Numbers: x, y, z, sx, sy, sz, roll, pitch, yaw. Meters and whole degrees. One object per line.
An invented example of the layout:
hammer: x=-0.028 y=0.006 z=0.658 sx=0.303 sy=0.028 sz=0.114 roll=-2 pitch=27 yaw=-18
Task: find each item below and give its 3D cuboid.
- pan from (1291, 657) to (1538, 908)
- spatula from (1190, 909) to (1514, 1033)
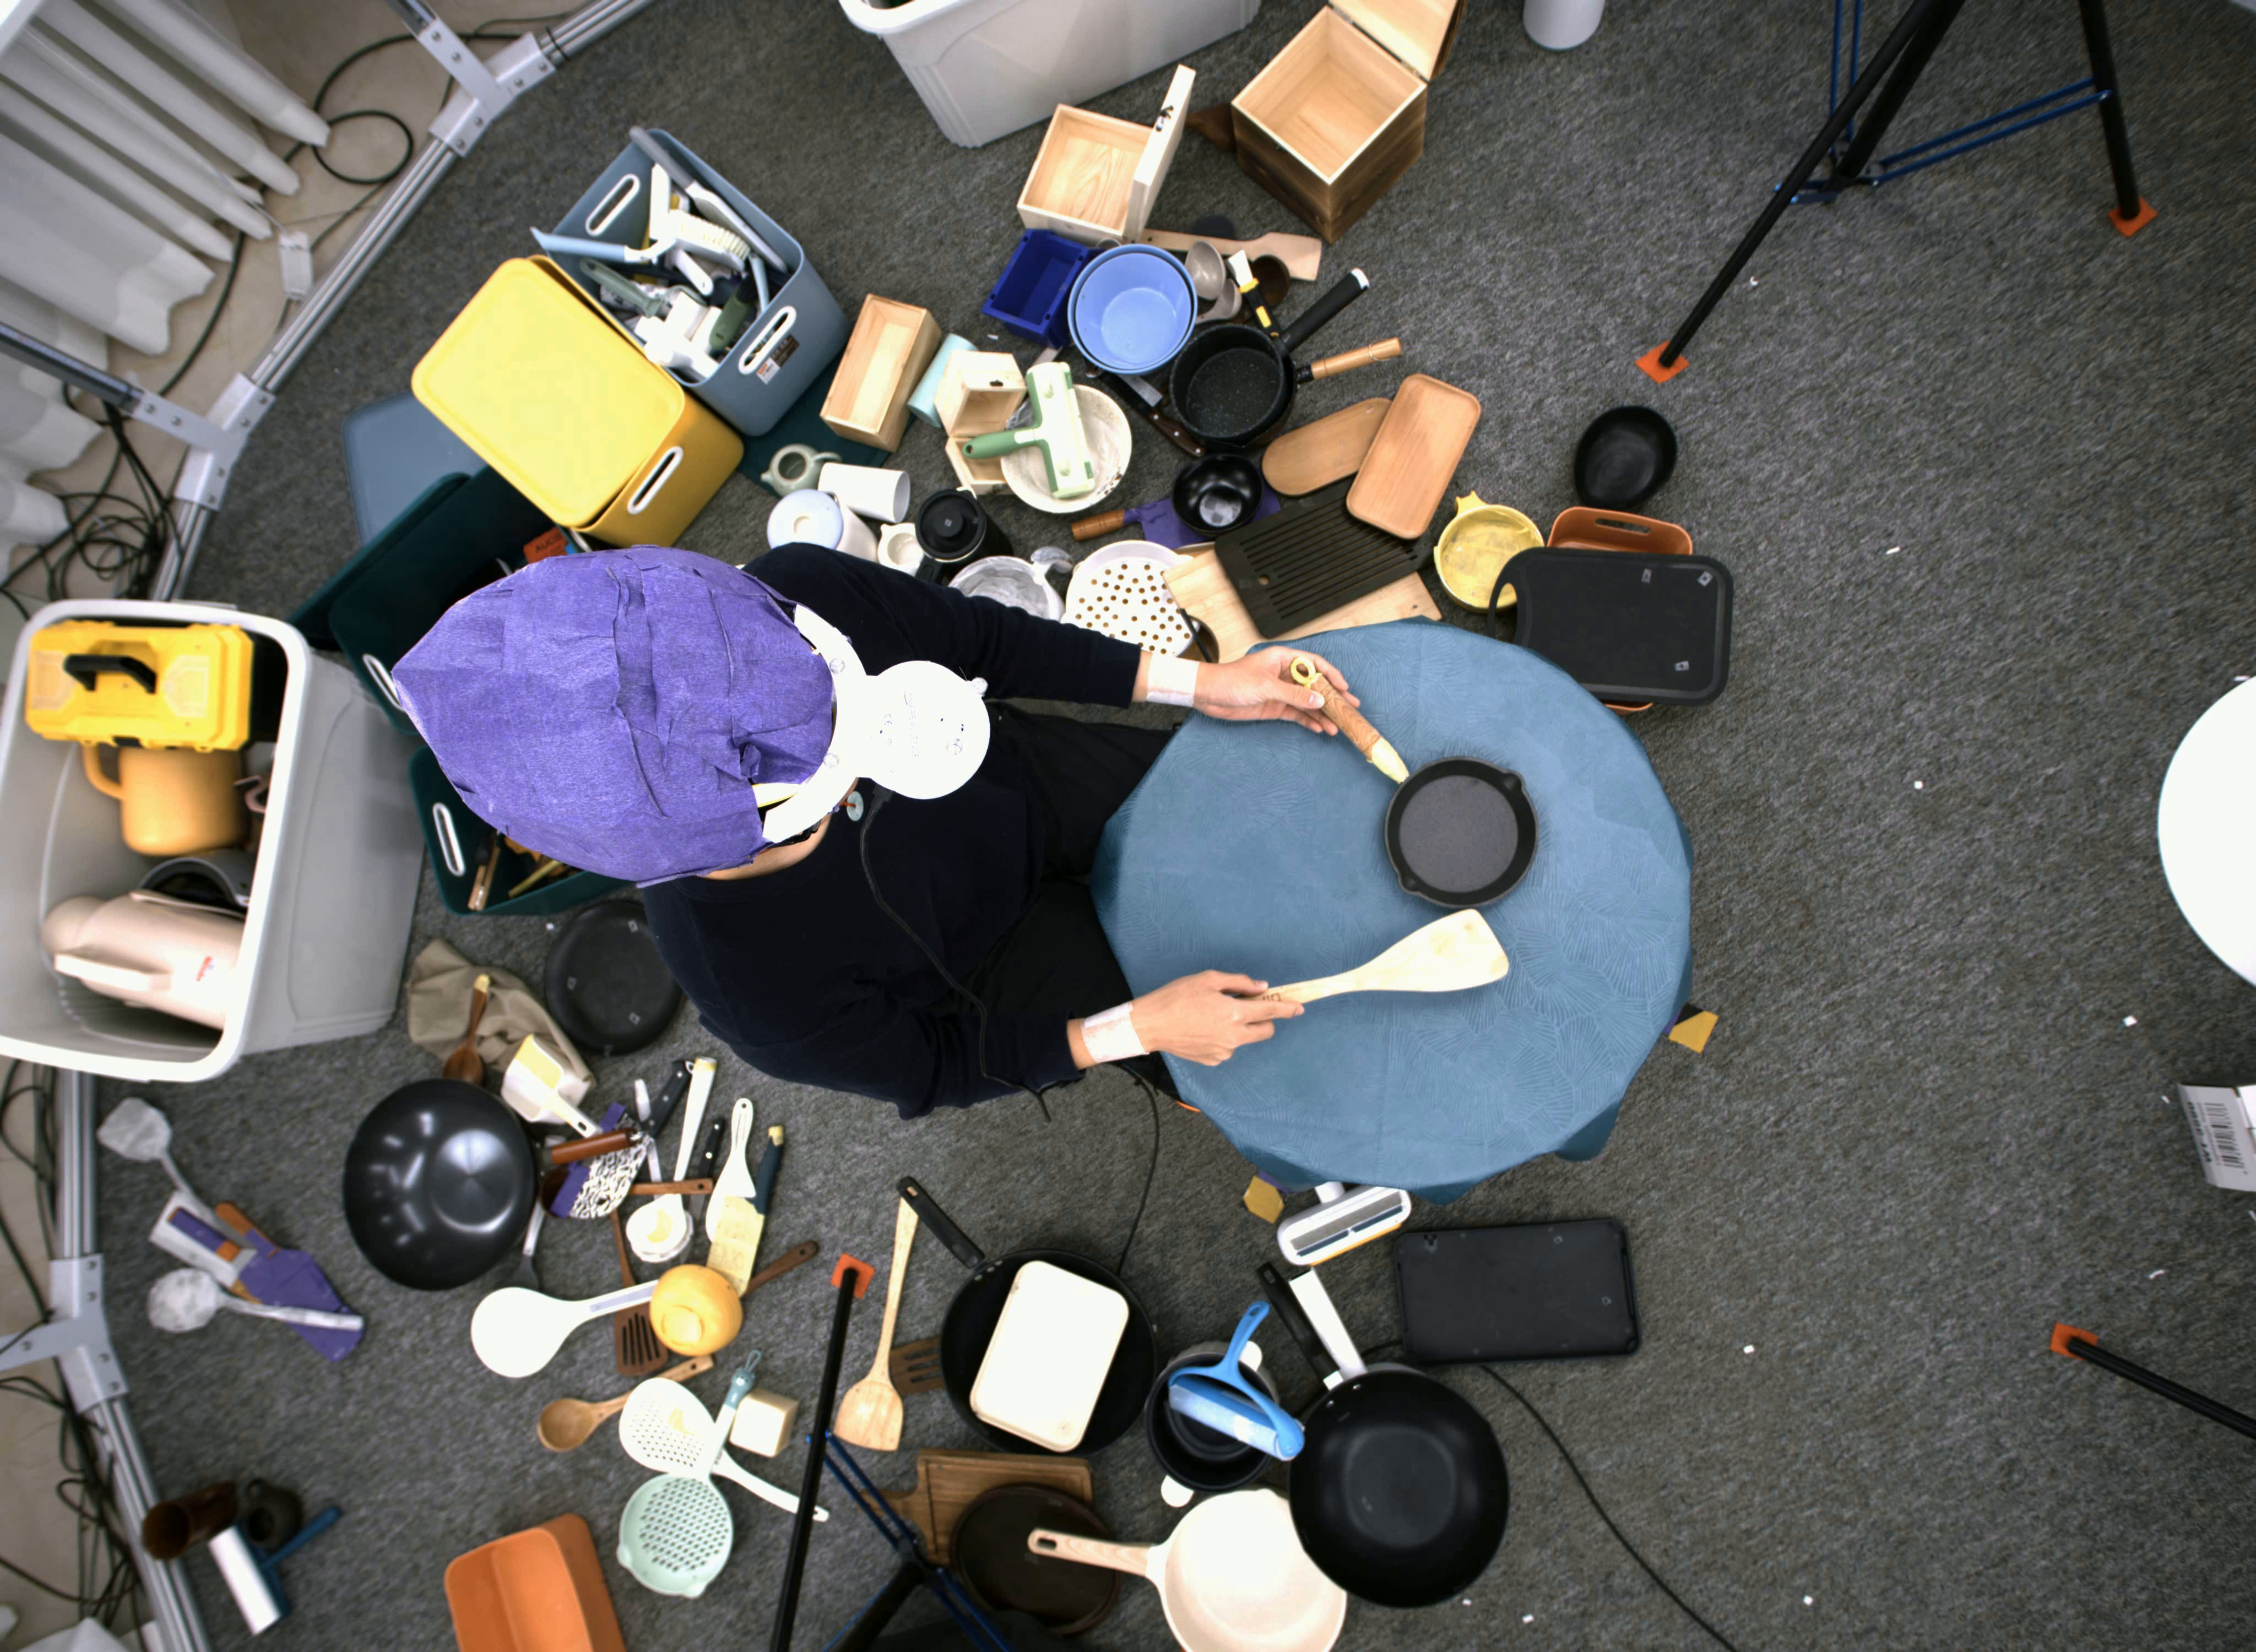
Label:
pan: x=0.287 y=-0.056 z=1.431 sx=0.170 sy=0.049 sz=0.323 roll=-43 pitch=85 yaw=6
spatula: x=0.220 y=0.153 z=1.382 sx=0.327 sy=0.017 sz=0.079 roll=-14 pitch=71 yaw=-5
